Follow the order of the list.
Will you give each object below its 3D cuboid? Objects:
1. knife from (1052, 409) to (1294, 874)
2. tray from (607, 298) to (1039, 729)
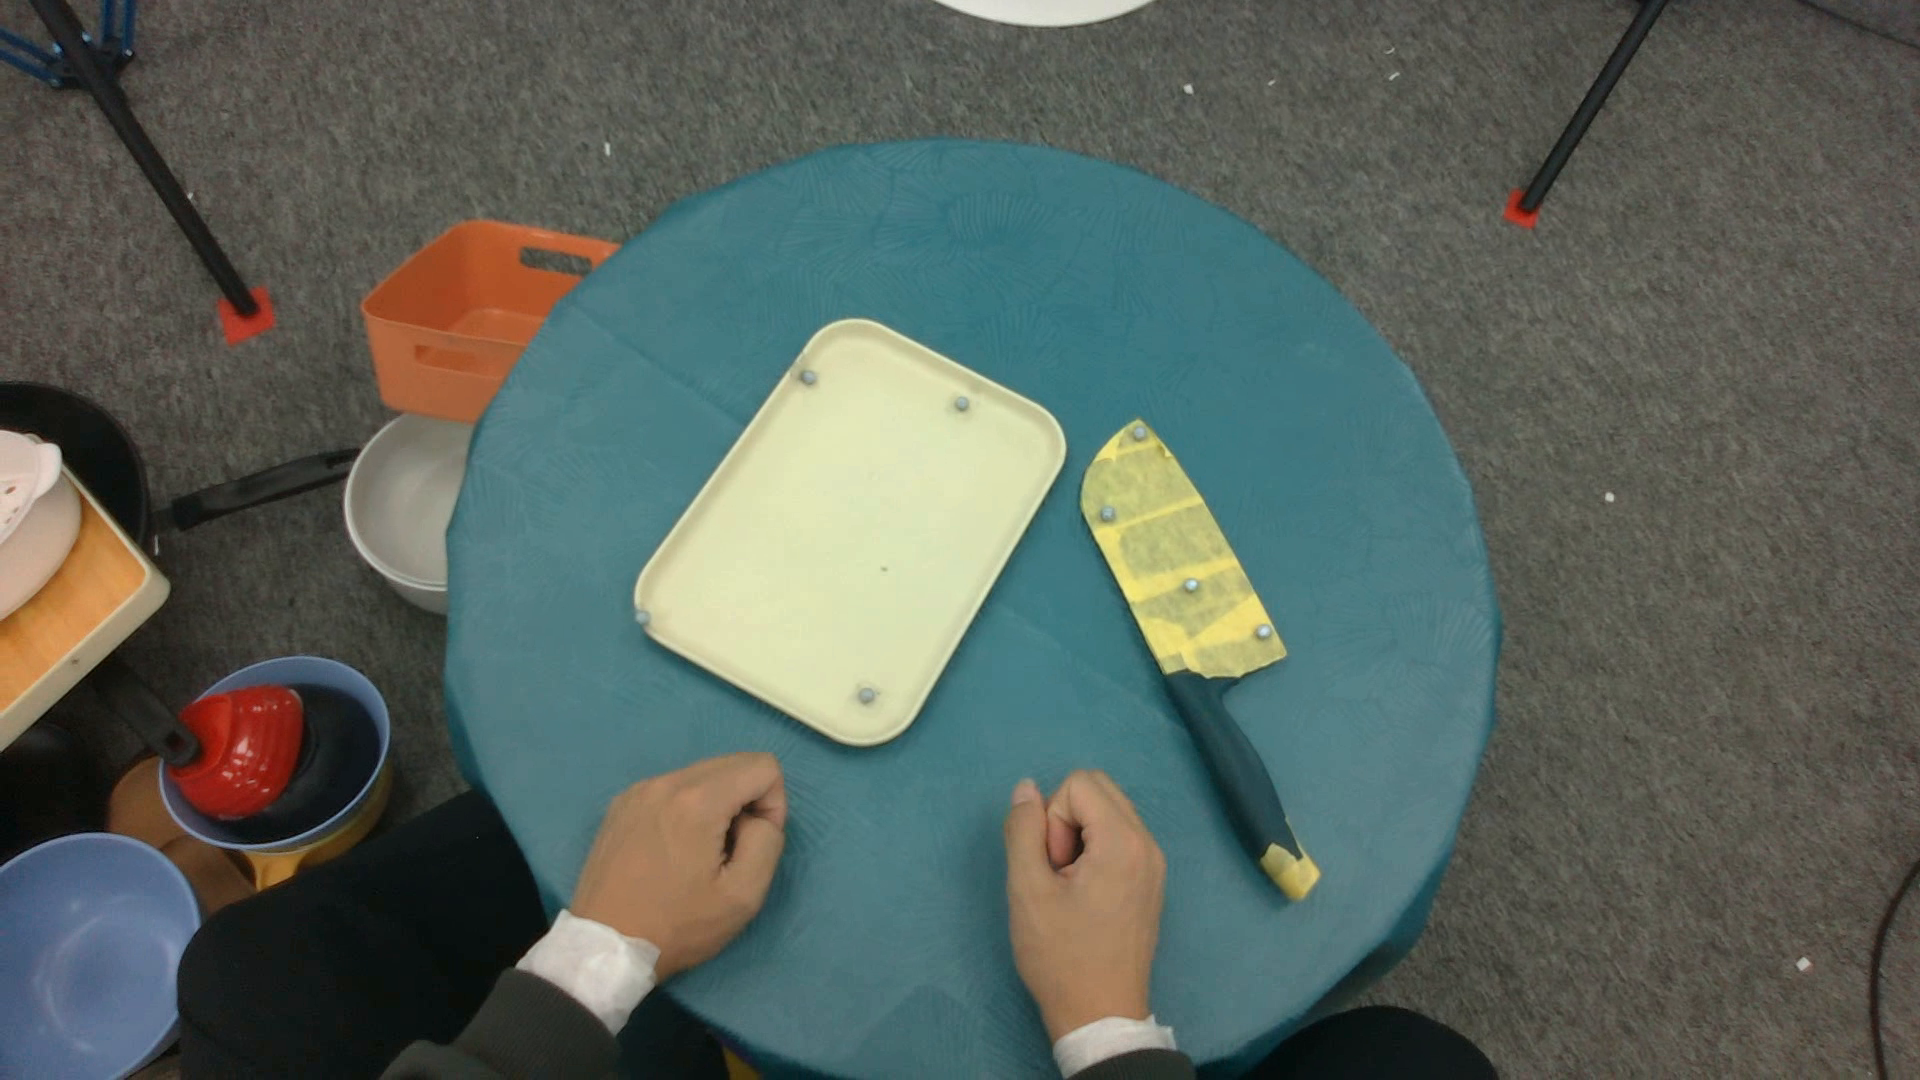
[{"bbox_3d":[0.126,0.045,0.775,0.081,0.027,0.290,-16,67,-12],"label":"knife"},{"bbox_3d":[-0.072,-0.021,0.780,0.171,0.017,0.240,28,65,6],"label":"tray"}]
